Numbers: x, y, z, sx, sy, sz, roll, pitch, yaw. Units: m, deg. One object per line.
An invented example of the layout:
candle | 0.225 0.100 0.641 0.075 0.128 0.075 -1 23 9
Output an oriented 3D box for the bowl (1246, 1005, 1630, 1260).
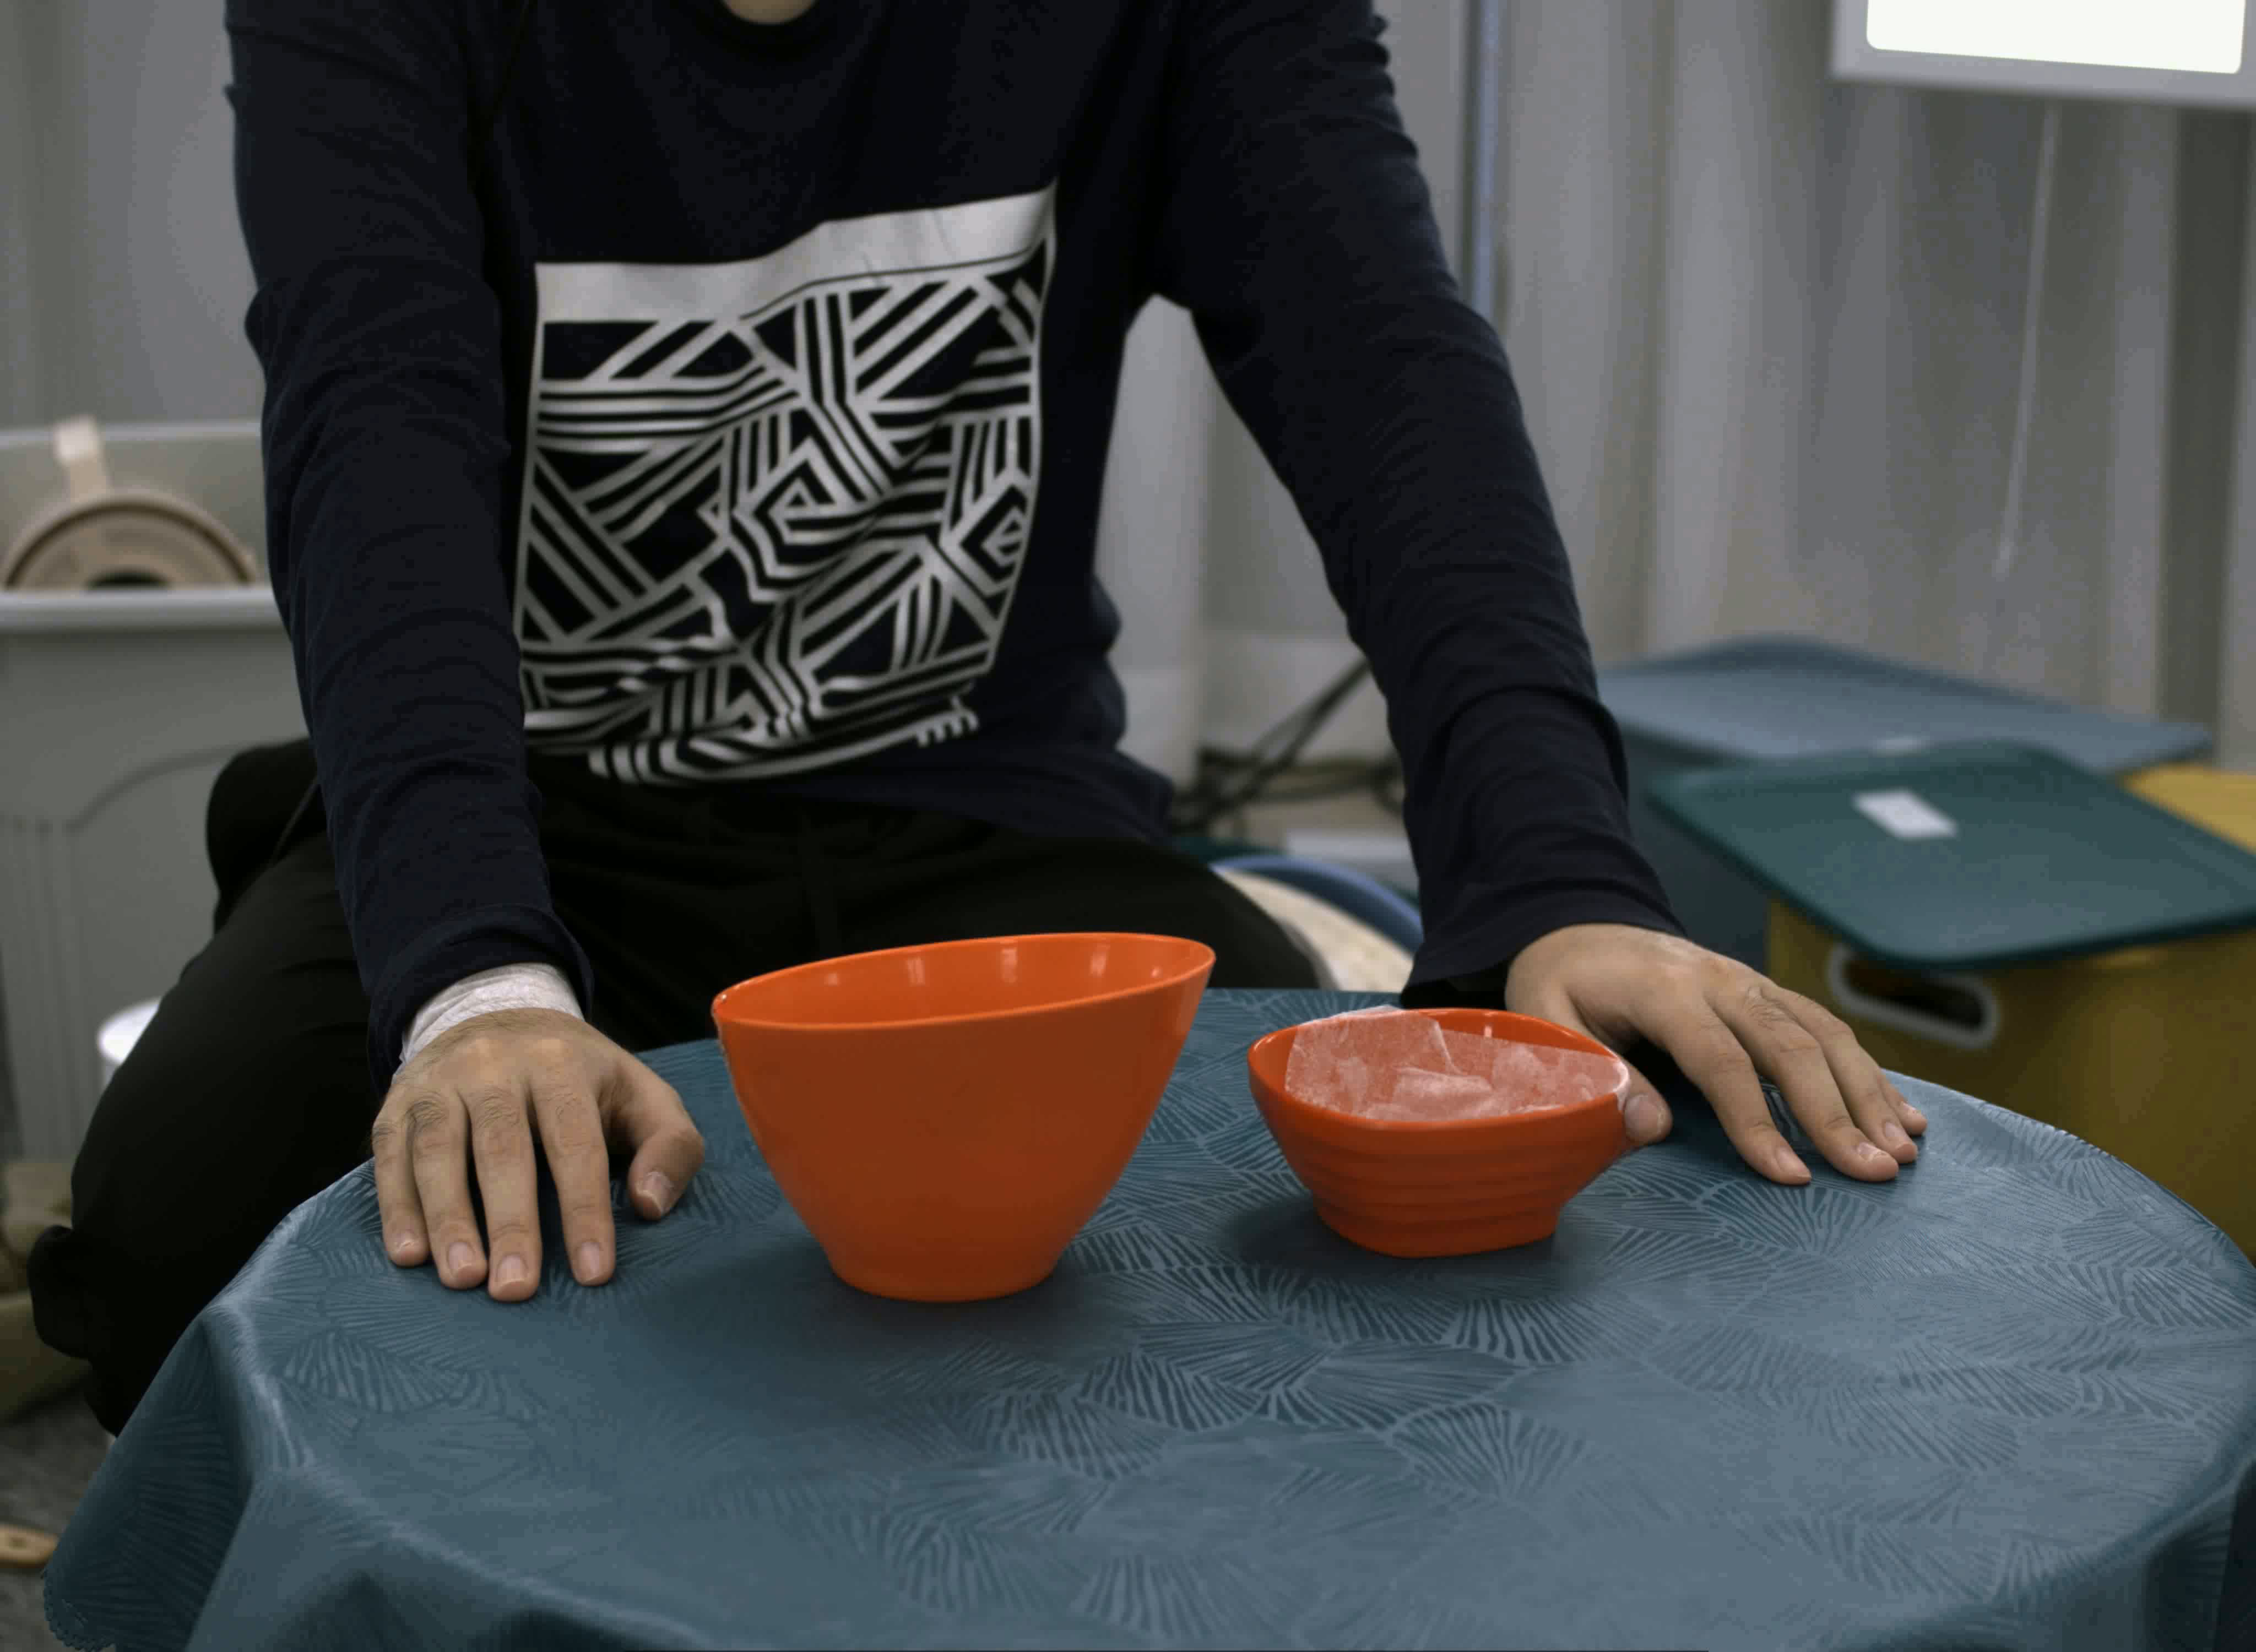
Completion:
bowl | 0.094 0.095 1.597 0.118 0.052 0.118 -1 16 1

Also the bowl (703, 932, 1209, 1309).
bowl | -0.049 0.084 1.536 0.147 0.105 0.147 0 16 1
